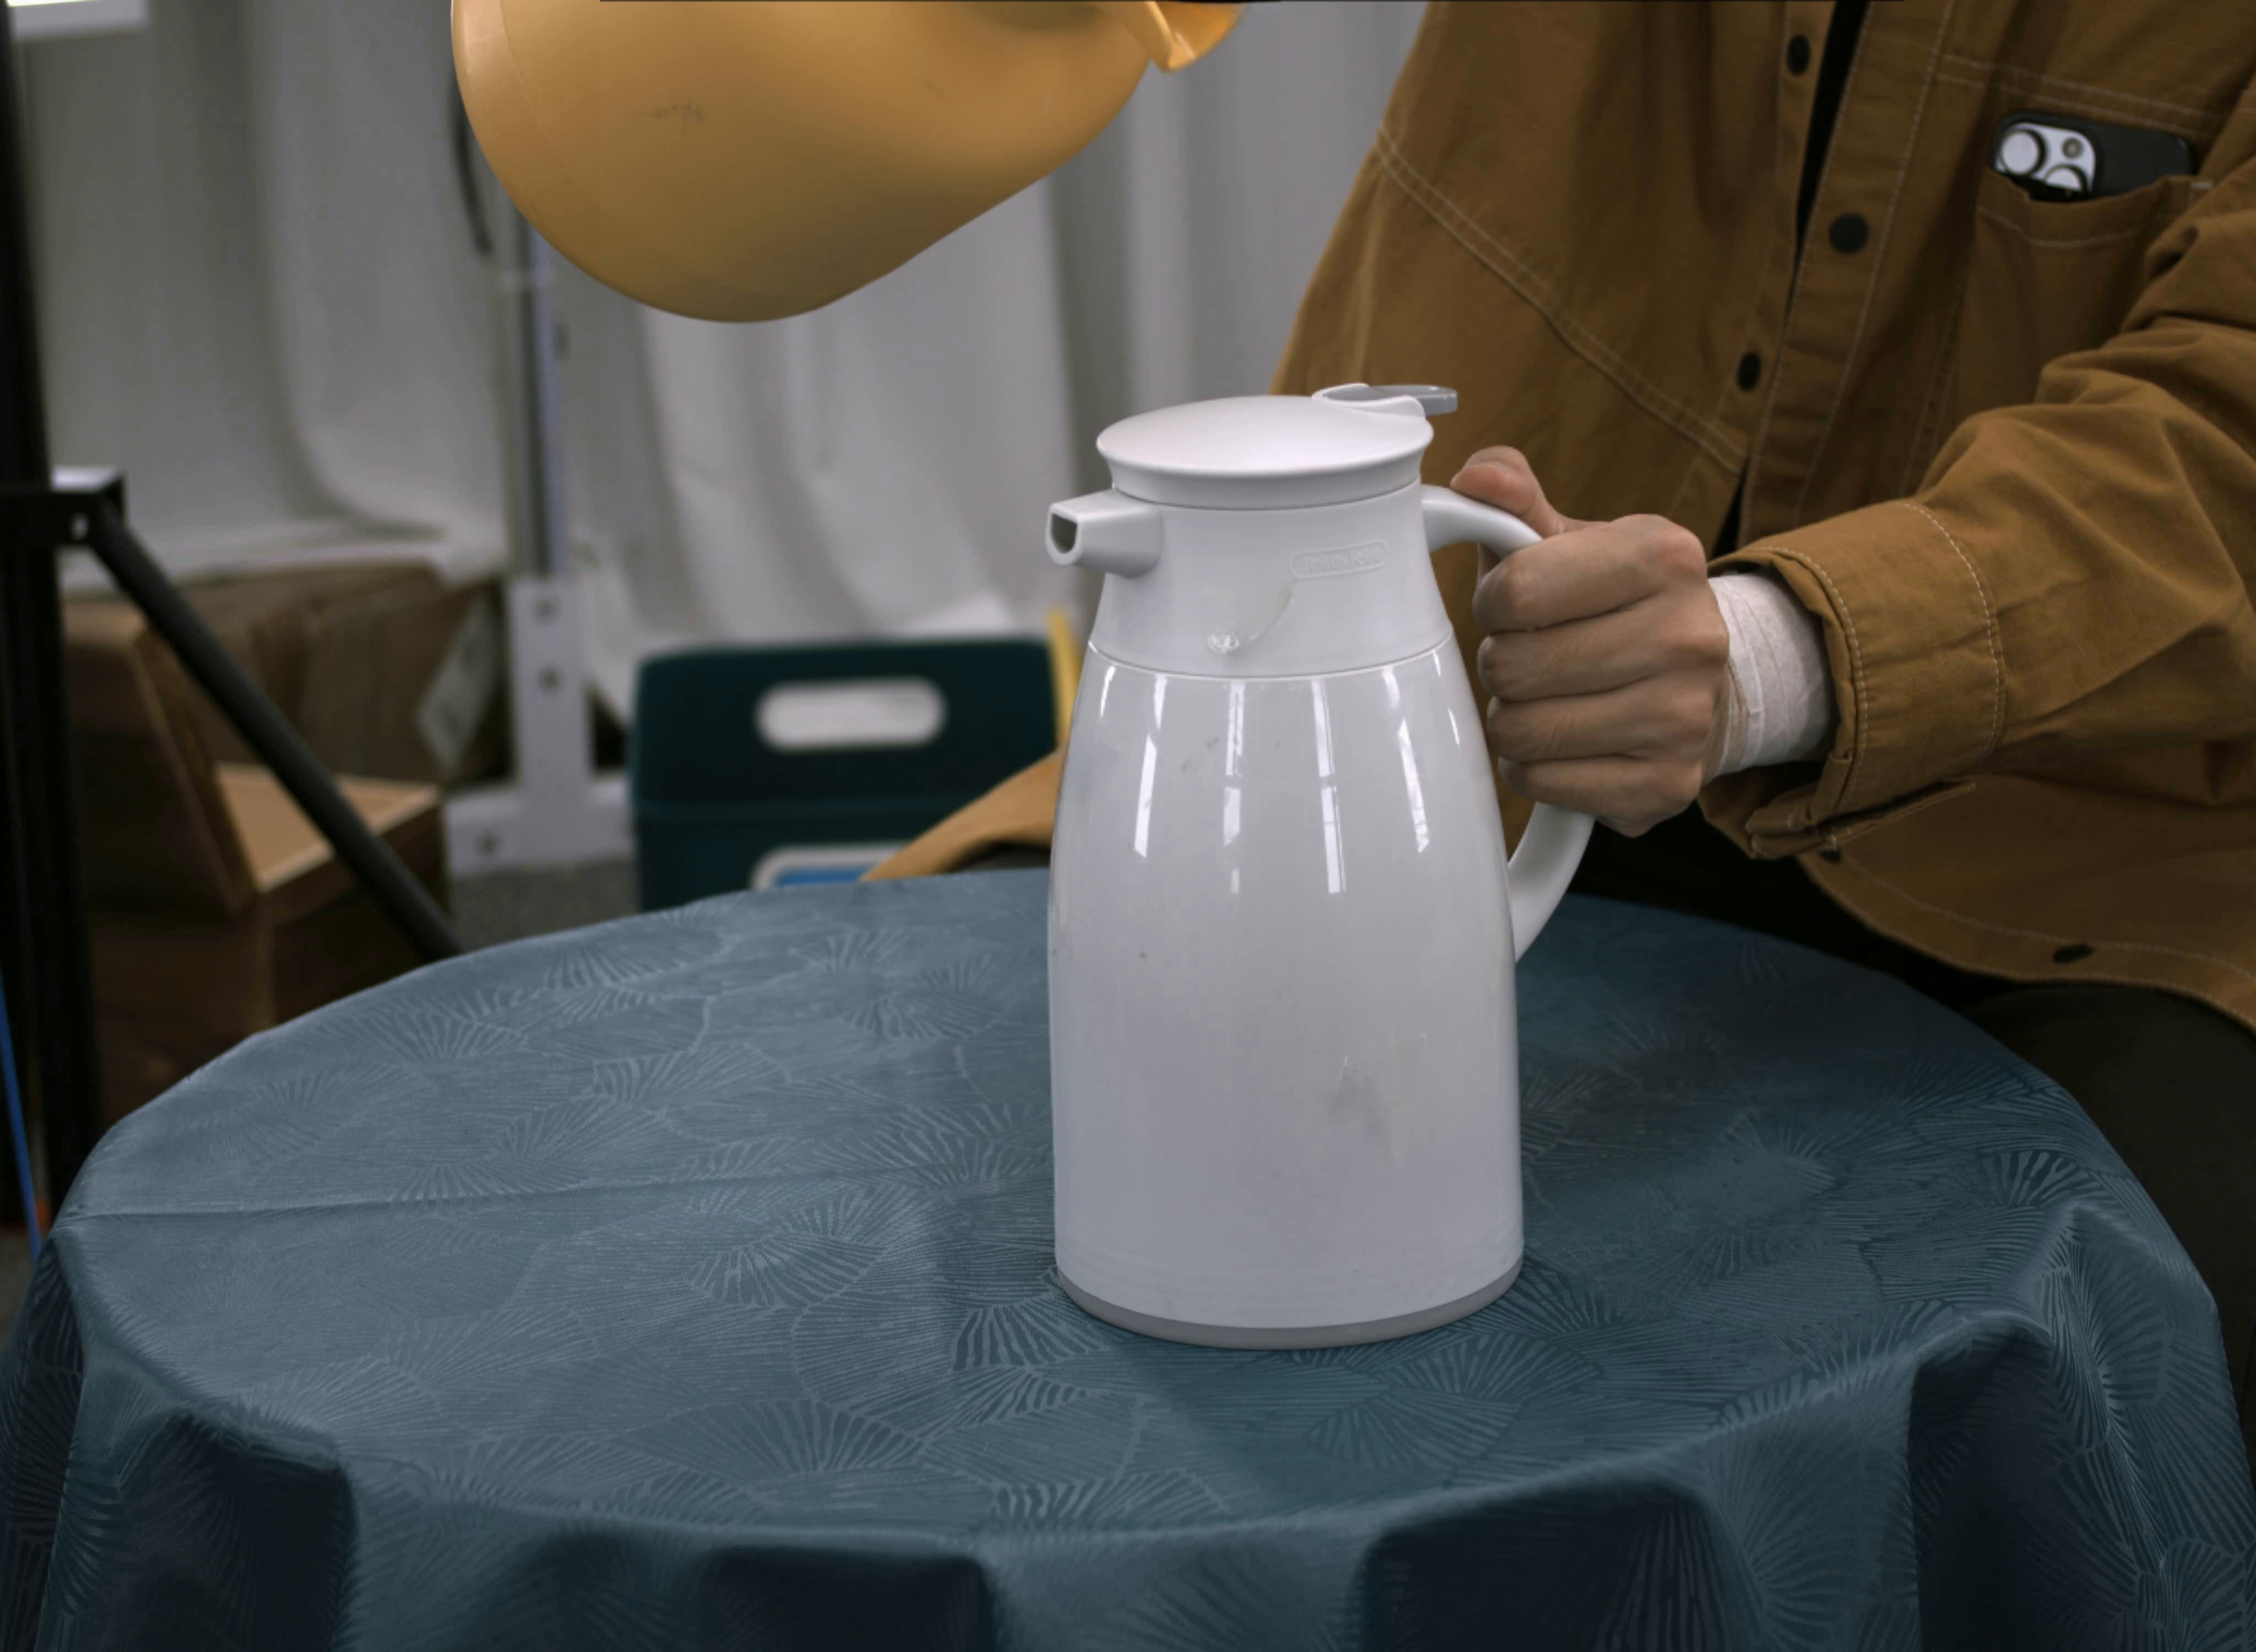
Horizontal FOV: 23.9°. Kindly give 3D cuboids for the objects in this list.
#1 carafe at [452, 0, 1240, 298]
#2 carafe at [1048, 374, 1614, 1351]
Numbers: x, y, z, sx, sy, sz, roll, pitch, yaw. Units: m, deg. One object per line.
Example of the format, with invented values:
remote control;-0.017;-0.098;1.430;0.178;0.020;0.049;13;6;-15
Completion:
carafe;-0.075;-0.270;1.496;0.160;0.203;0.265;-22;3;-37
carafe;0.058;0.002;1.466;0.164;0.248;0.135;-9;16;-25
